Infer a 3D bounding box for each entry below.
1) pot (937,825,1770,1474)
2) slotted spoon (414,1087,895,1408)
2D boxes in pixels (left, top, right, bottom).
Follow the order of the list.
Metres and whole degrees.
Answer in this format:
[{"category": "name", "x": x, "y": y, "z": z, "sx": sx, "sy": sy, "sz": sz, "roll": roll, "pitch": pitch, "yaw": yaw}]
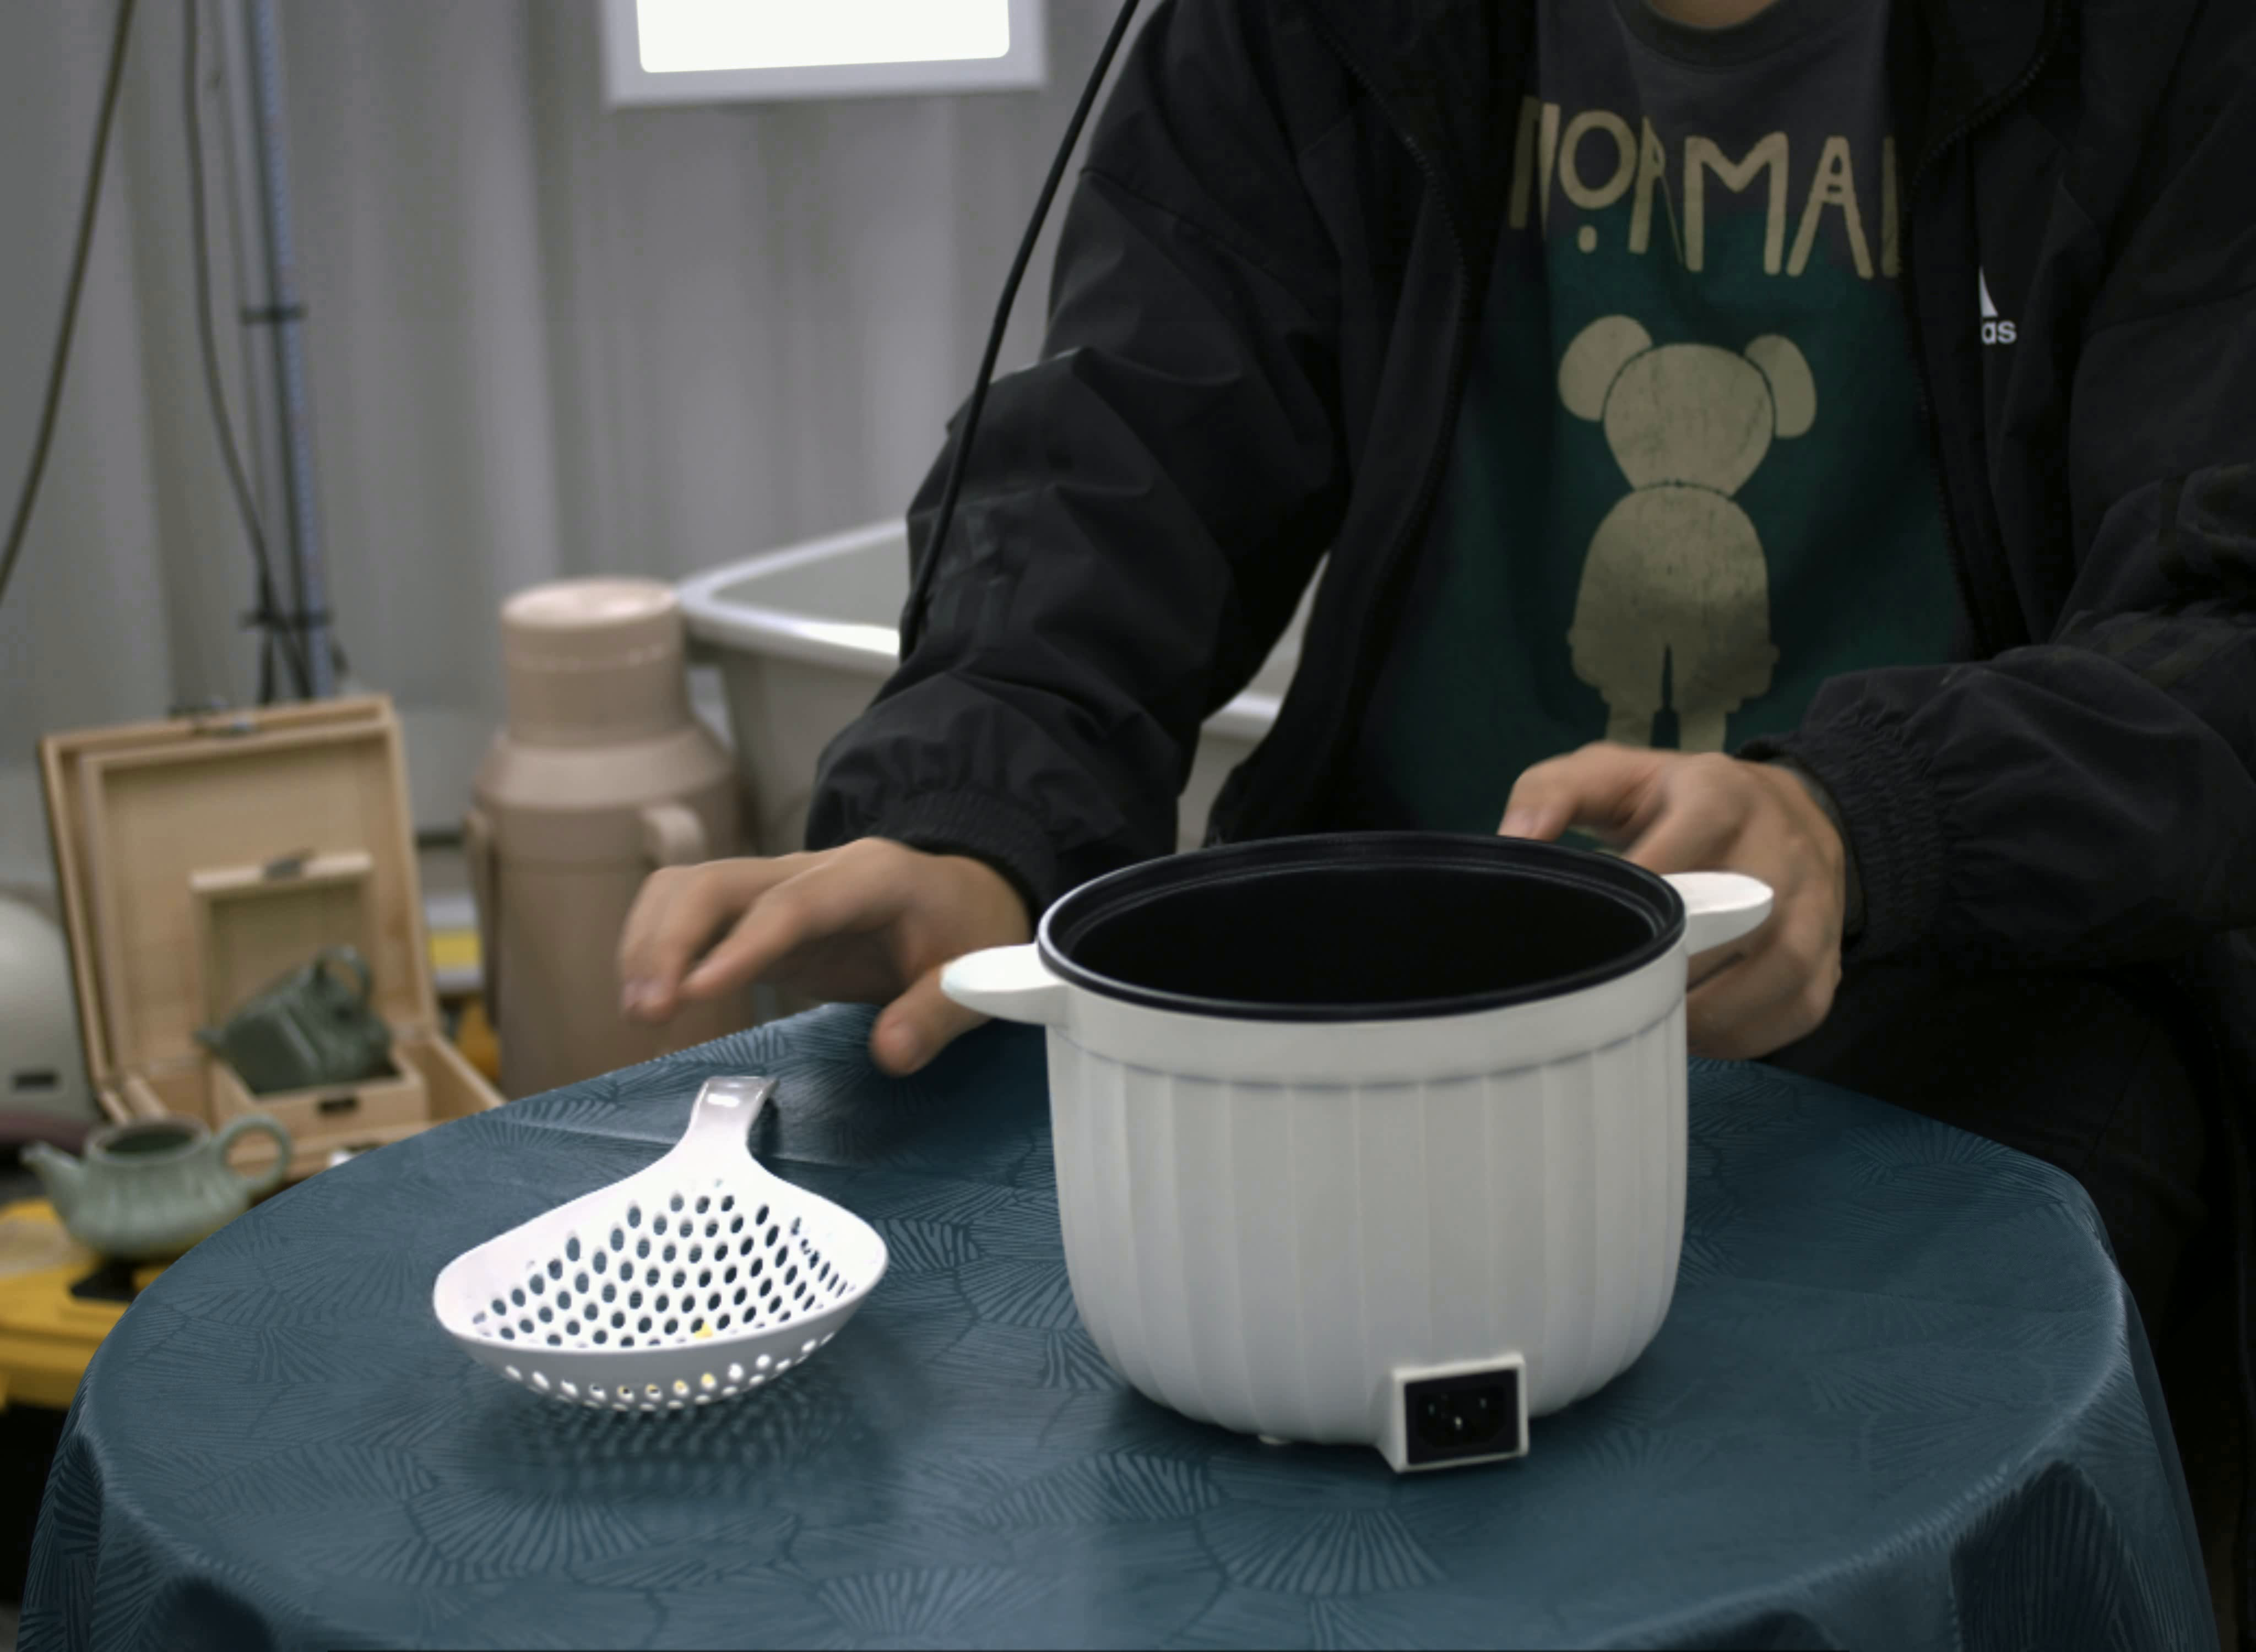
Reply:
[{"category": "pot", "x": 0.064, "y": 0.087, "z": 1.538, "sx": 0.239, "sy": 0.142, "sz": 0.192, "roll": -5, "pitch": 17, "yaw": -13}, {"category": "slotted spoon", "x": -0.130, "y": 0.113, "z": 1.661, "sx": 0.136, "sy": 0.050, "sz": 0.350, "roll": -5, "pitch": 15, "yaw": 3}]
